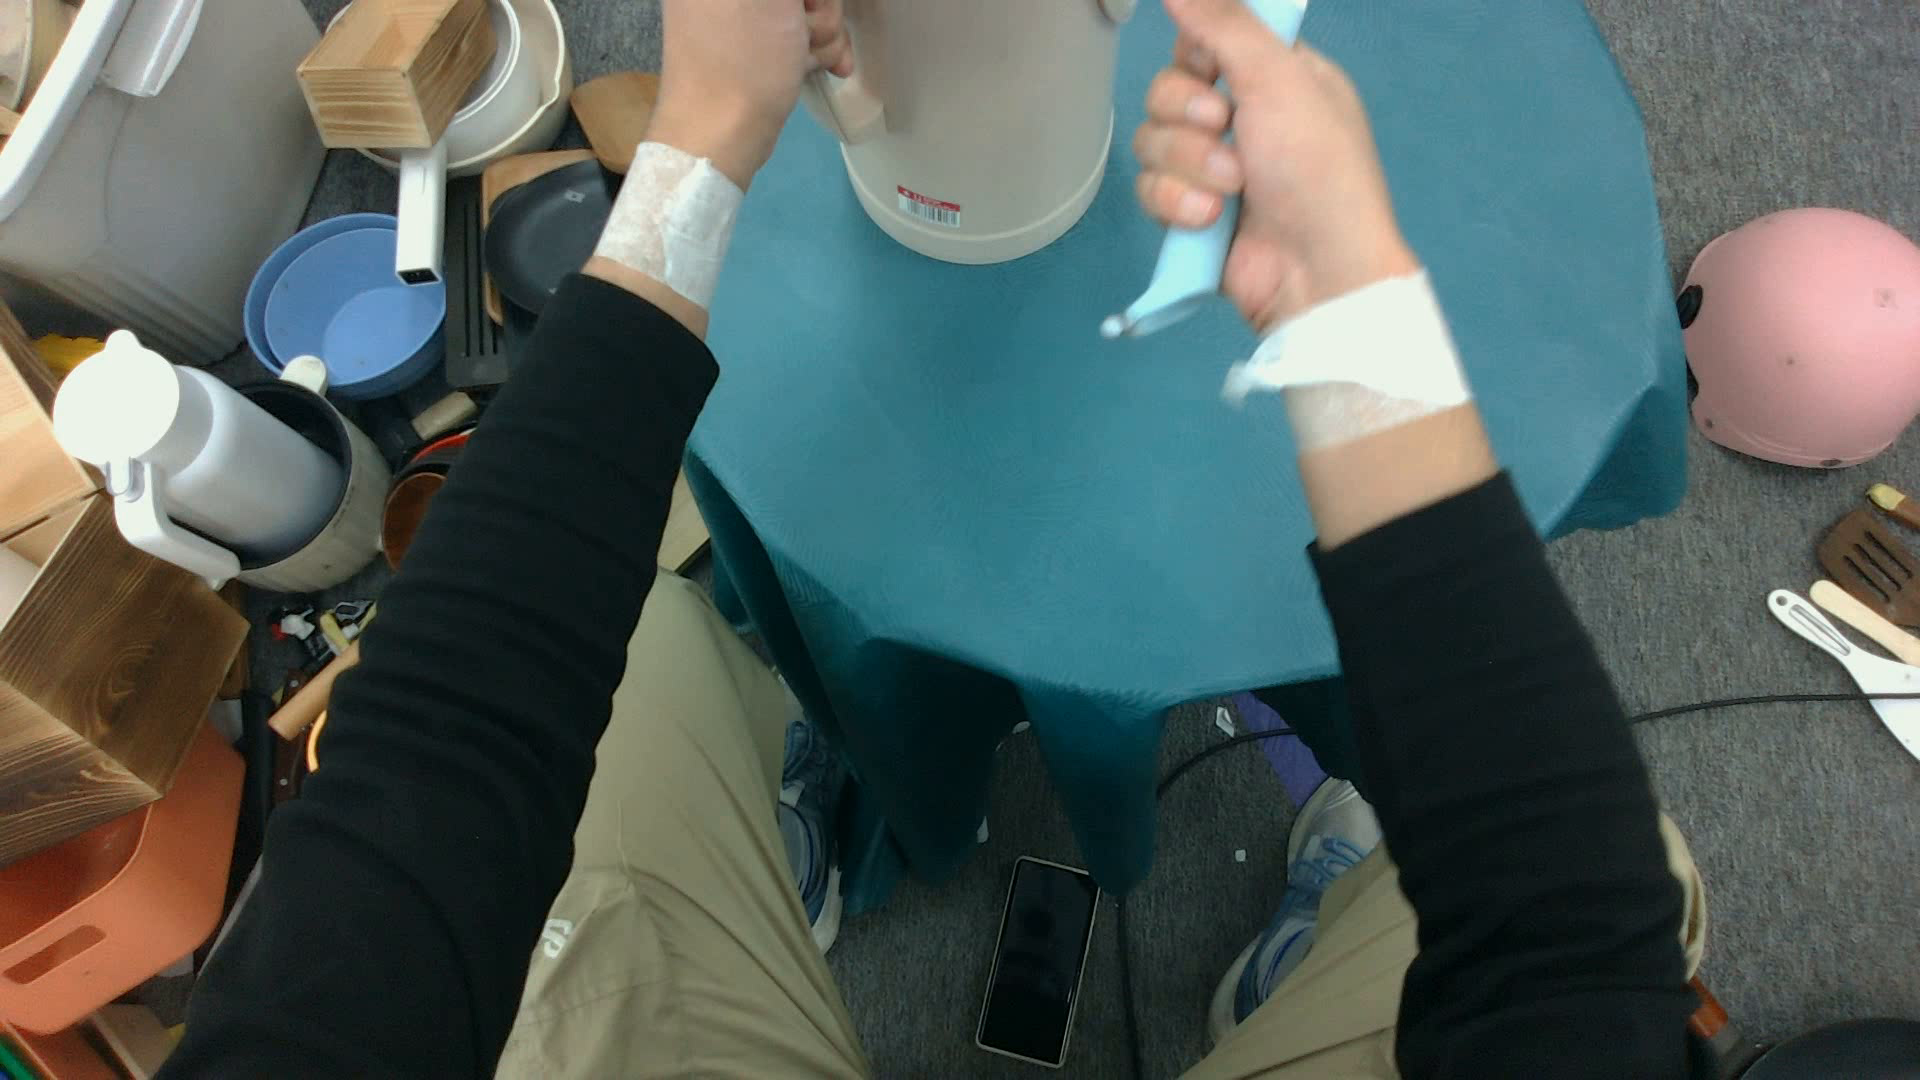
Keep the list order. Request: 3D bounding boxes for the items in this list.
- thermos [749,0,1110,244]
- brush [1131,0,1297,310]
[{"bbox_3d":[-0.017,-0.290,0.633,0.175,0.405,0.207,40,78,9],"label":"thermos"},{"bbox_3d":[0.084,-0.247,0.525,0.083,0.084,0.326,21,81,-35],"label":"brush"}]
